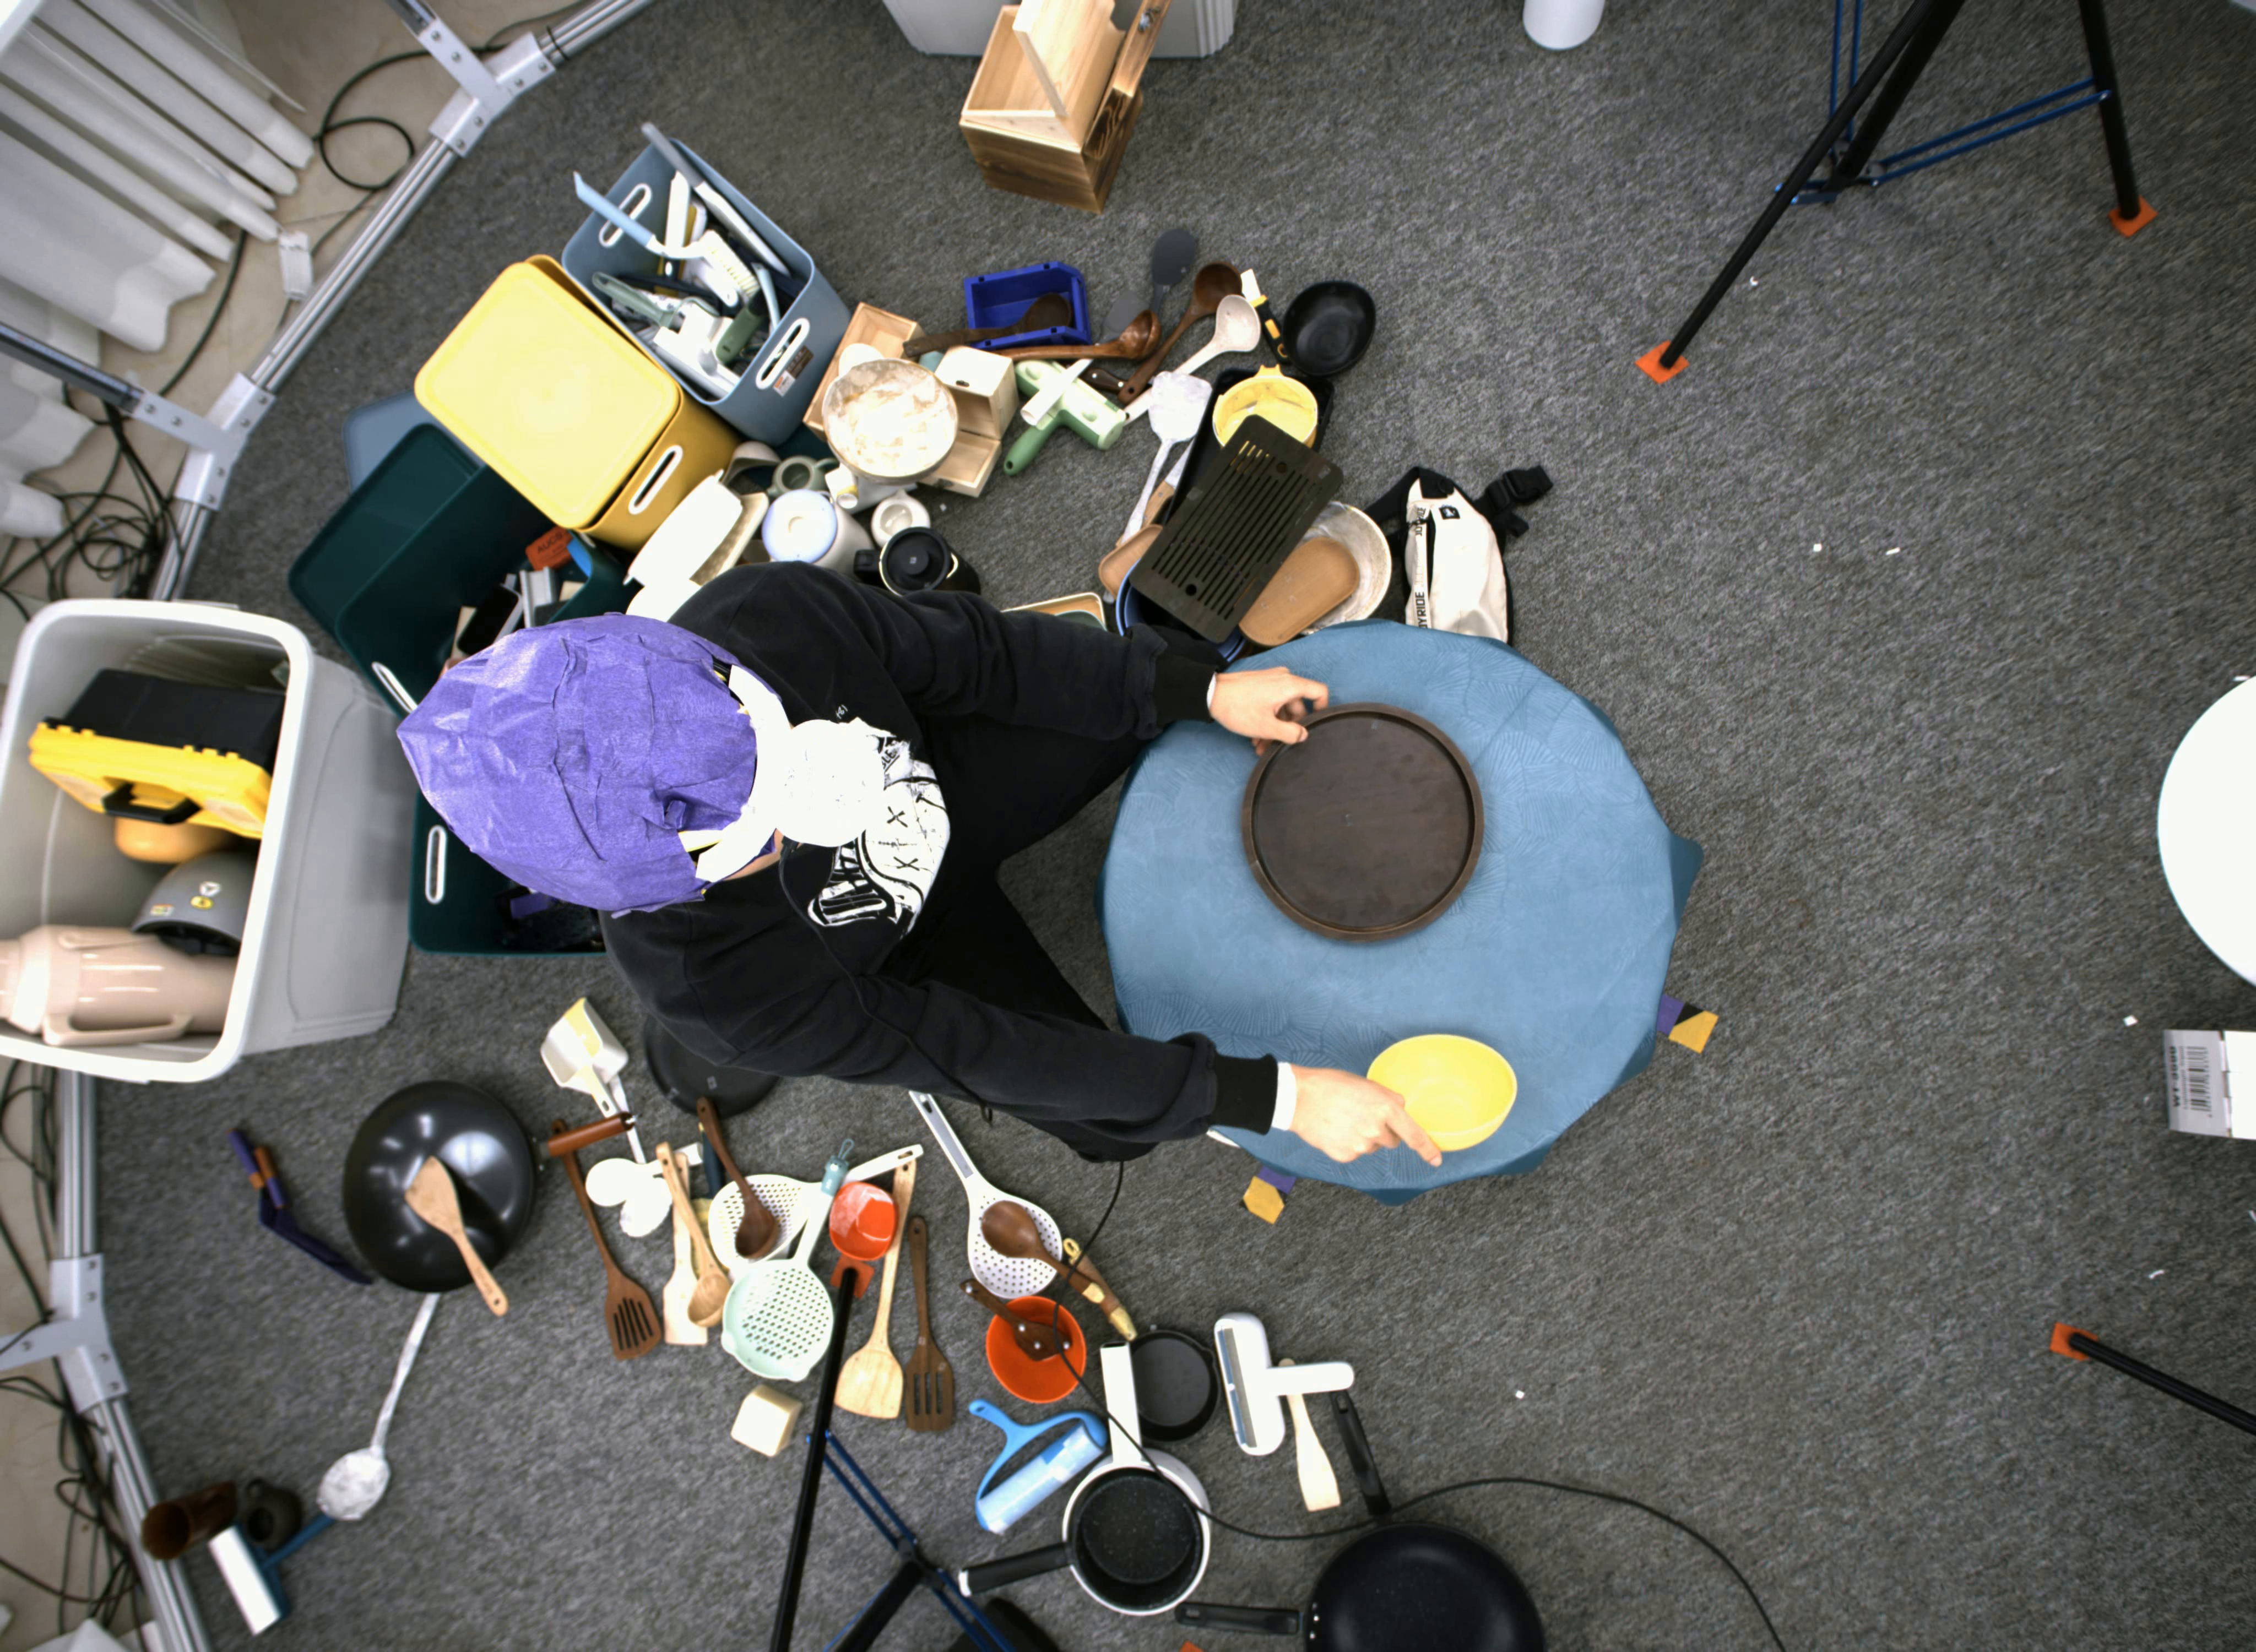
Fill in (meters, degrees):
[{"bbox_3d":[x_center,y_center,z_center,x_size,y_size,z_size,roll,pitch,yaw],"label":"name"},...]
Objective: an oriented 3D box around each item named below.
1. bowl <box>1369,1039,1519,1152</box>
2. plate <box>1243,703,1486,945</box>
[{"bbox_3d":[0.311,0.275,1.365,0.146,0.141,0.061,0,121,10],"label":"bowl"},{"bbox_3d":[0.248,-0.002,1.453,0.256,0.029,0.255,0,92,9],"label":"plate"}]
